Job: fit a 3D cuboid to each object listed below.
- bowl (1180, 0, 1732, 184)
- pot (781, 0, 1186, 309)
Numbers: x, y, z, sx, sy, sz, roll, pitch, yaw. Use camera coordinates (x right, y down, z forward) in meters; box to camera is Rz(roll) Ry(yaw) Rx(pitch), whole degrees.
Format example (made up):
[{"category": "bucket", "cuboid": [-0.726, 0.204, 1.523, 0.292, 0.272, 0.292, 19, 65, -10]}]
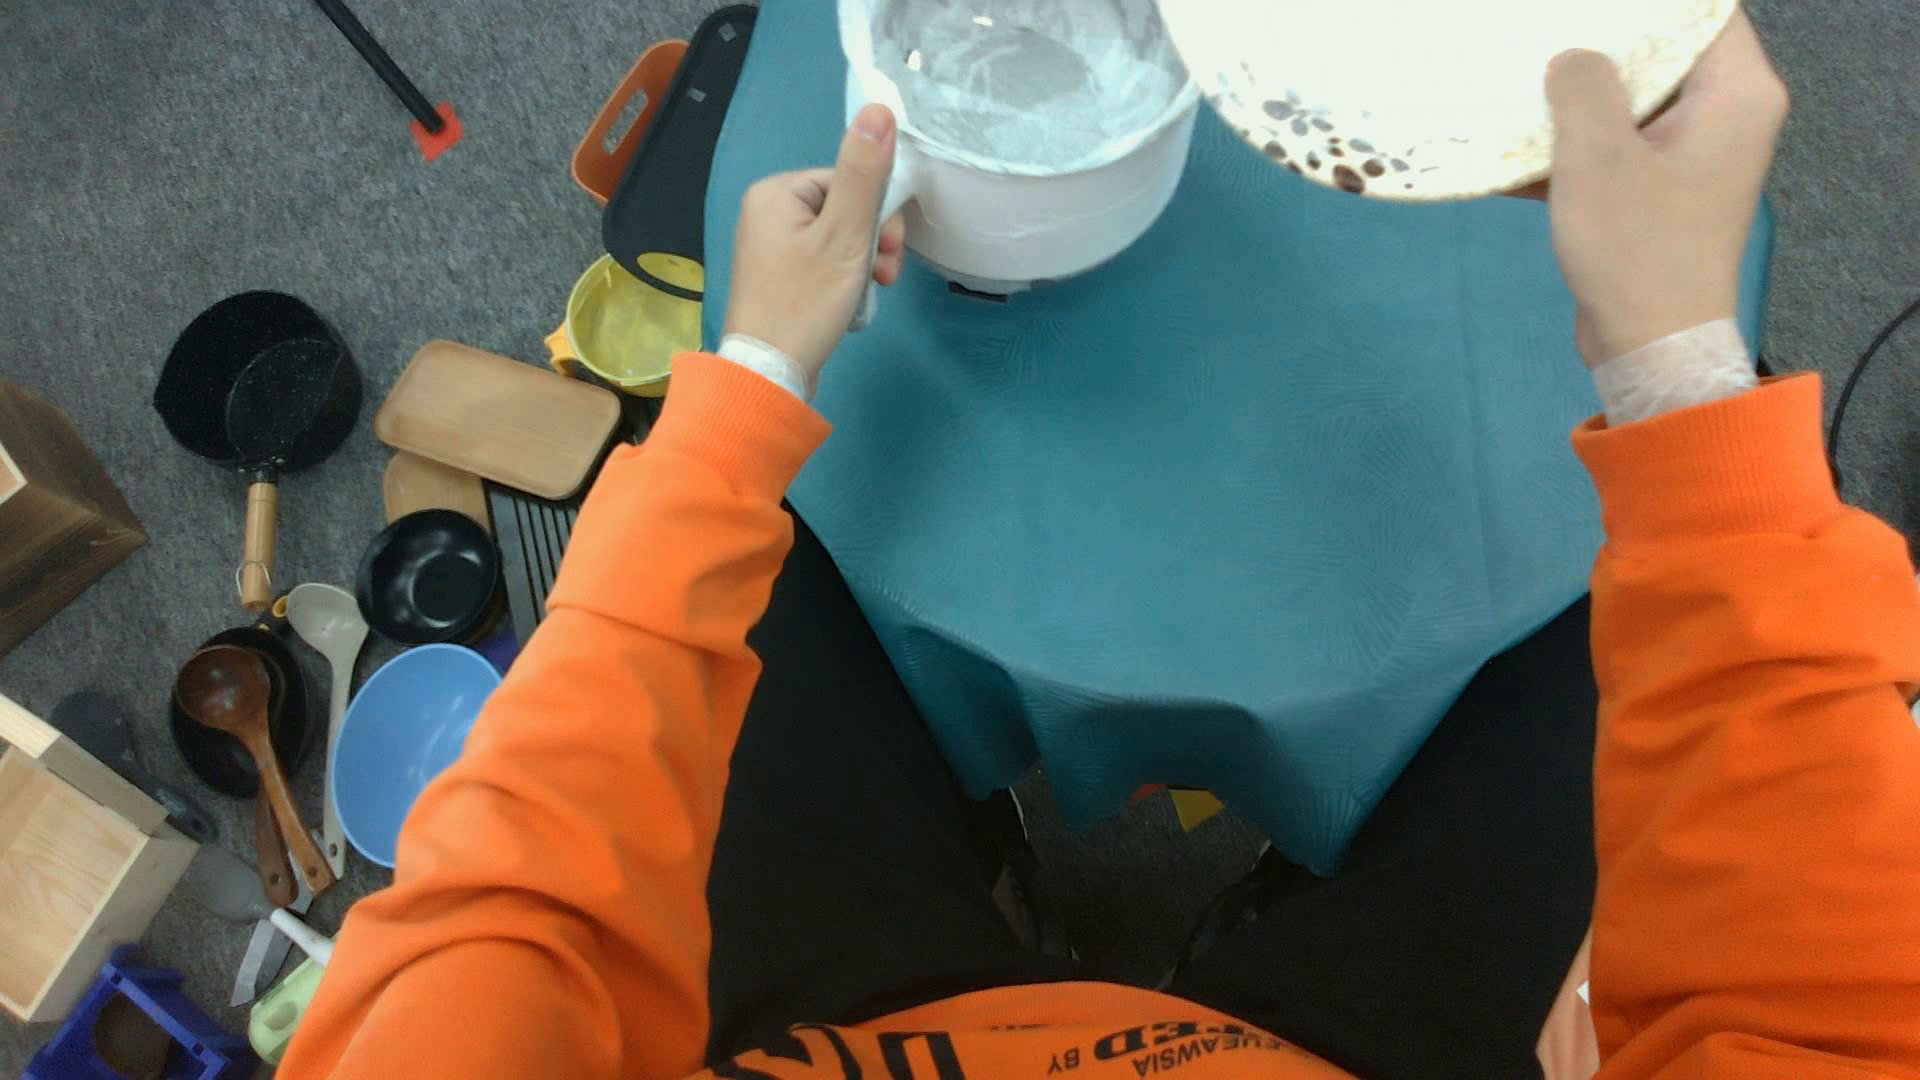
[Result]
[{"category": "bowl", "cuboid": [0.184, -0.240, 0.516, 0.204, 0.078, 0.203, 6, 108, 17]}, {"category": "pot", "cuboid": [-0.002, -0.219, 0.684, 0.179, 0.136, 0.234, 38, 75, 10]}]
